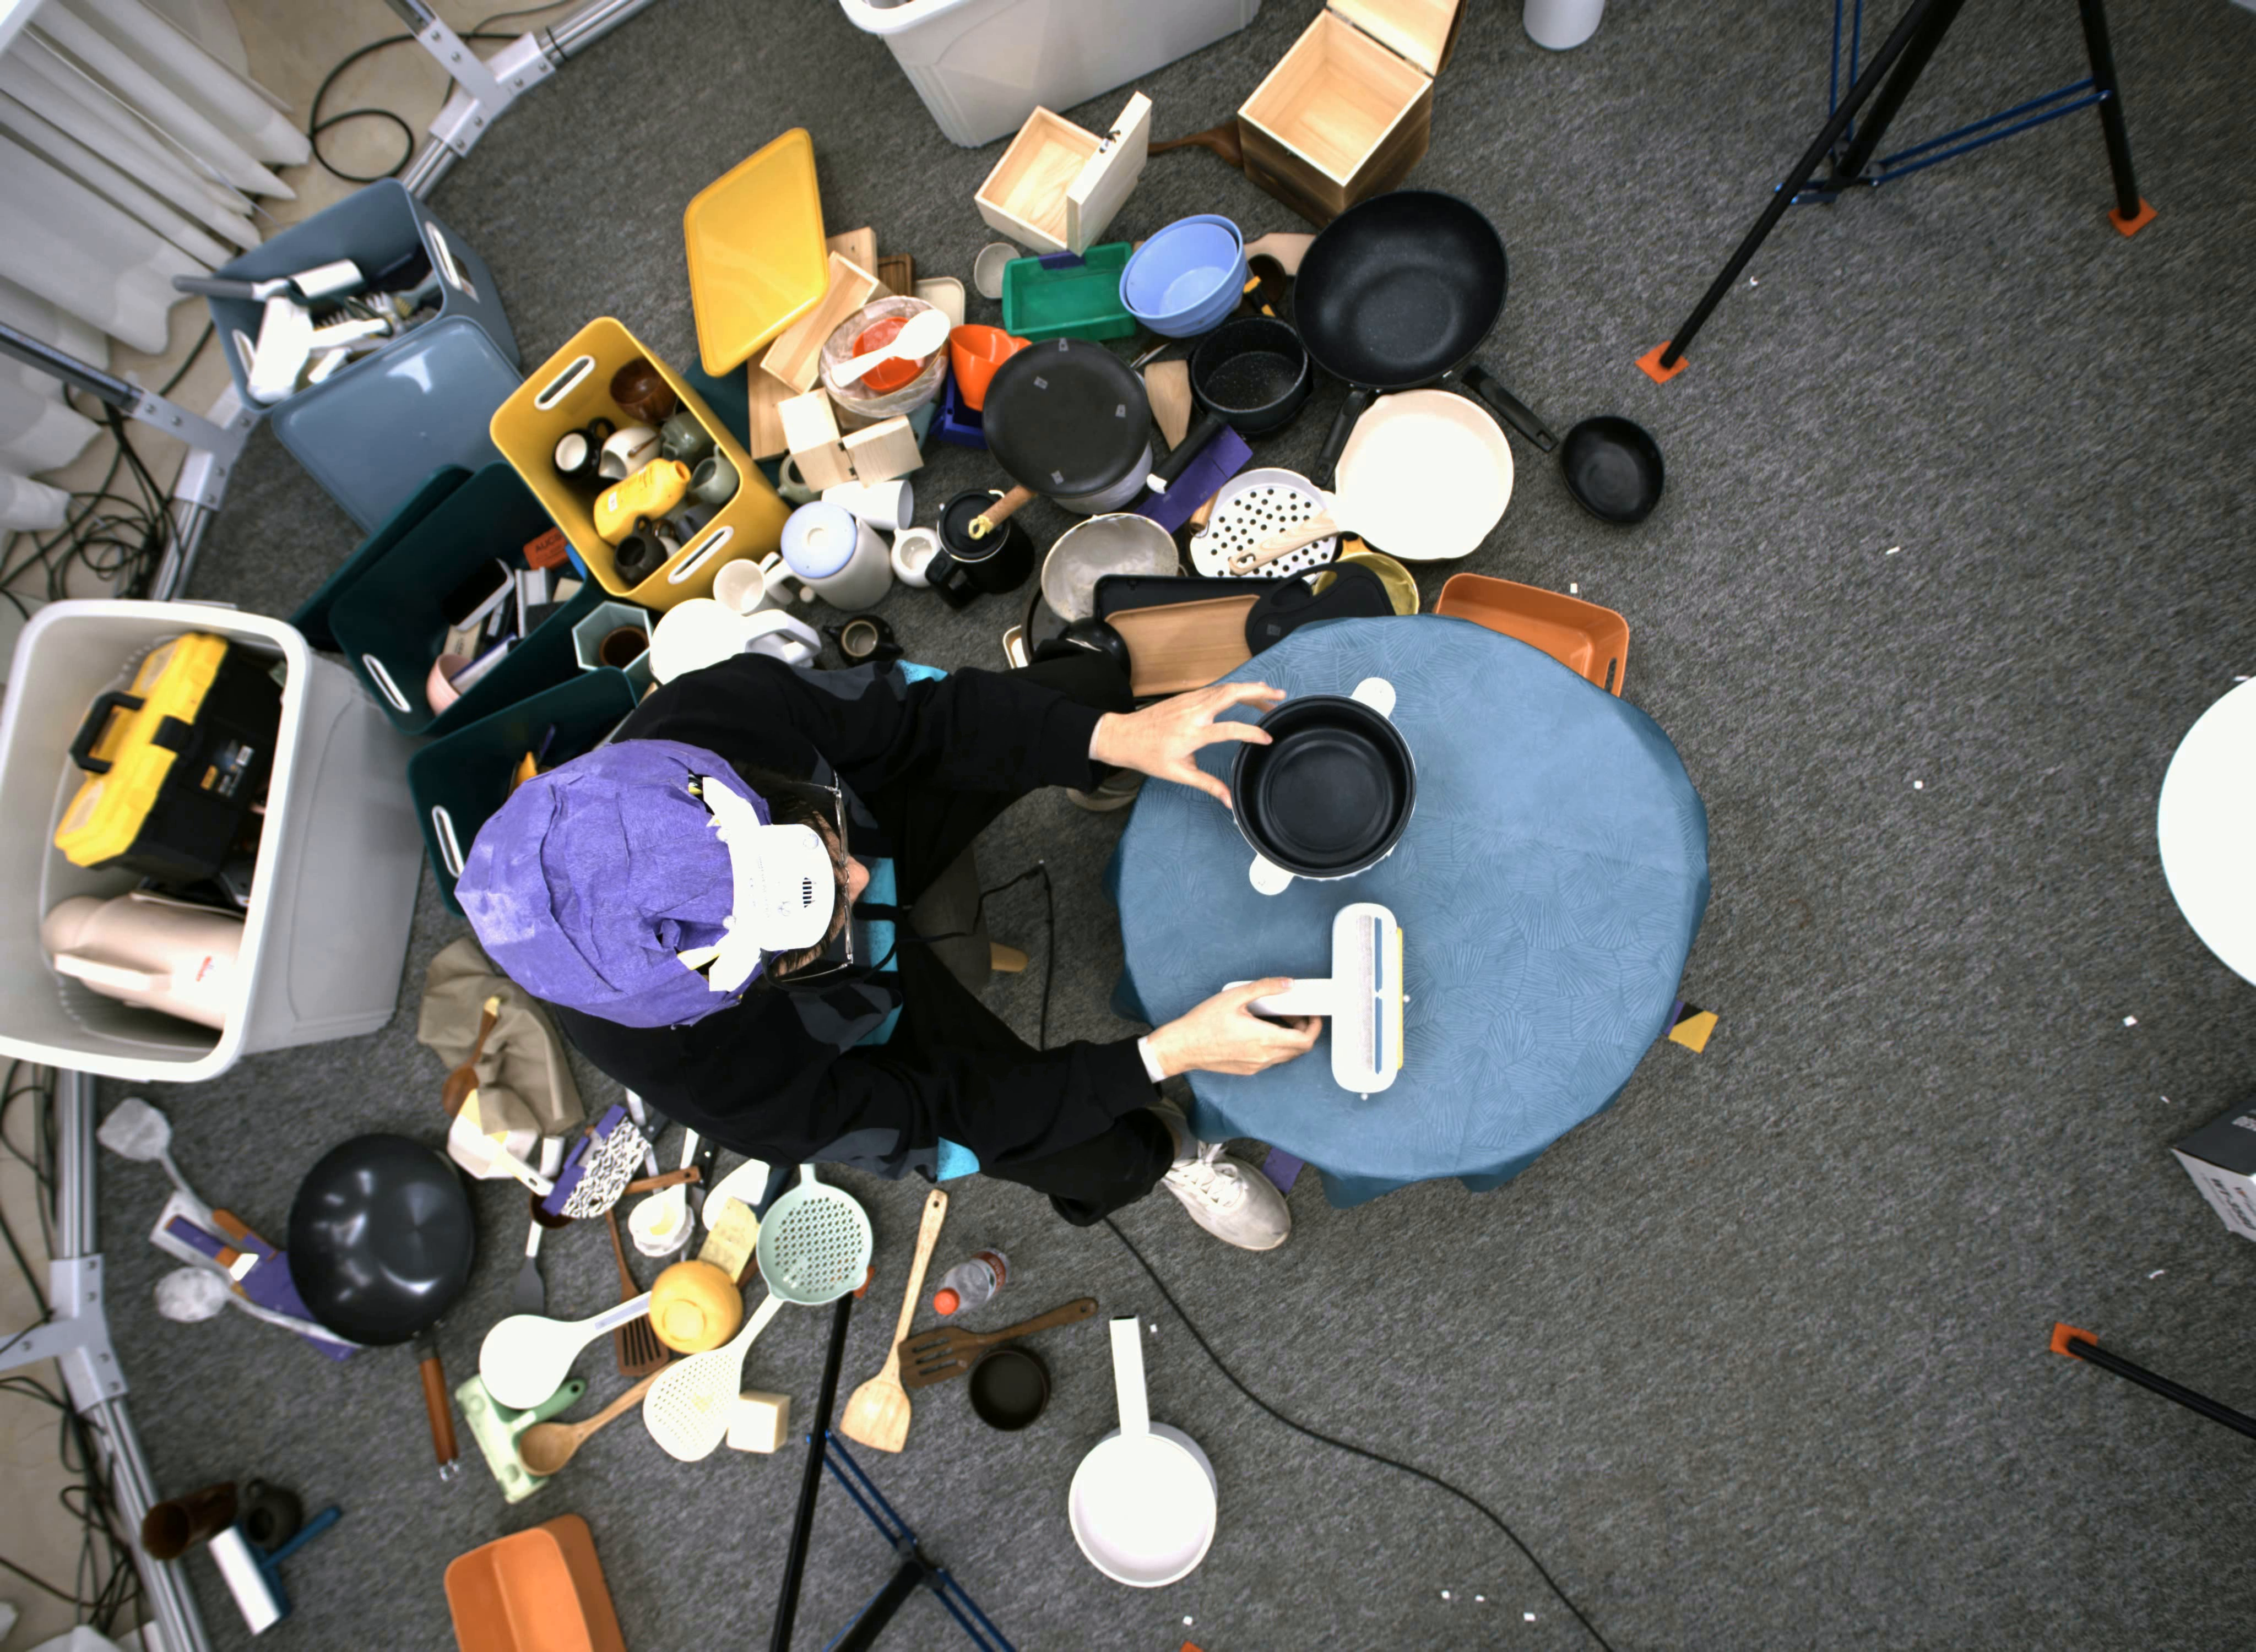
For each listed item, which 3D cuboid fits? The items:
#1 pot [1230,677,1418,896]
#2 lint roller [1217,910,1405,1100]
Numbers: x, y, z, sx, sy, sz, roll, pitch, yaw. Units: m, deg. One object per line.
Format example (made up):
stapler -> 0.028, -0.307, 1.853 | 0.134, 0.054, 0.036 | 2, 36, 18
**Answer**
pot -> 0.194, -0.036, 1.404 | 0.190, 0.143, 0.240 | 30, 91, 8
lint roller -> 0.185, 0.179, 1.431 | 0.193, 0.074, 0.191 | 3, 82, 12
